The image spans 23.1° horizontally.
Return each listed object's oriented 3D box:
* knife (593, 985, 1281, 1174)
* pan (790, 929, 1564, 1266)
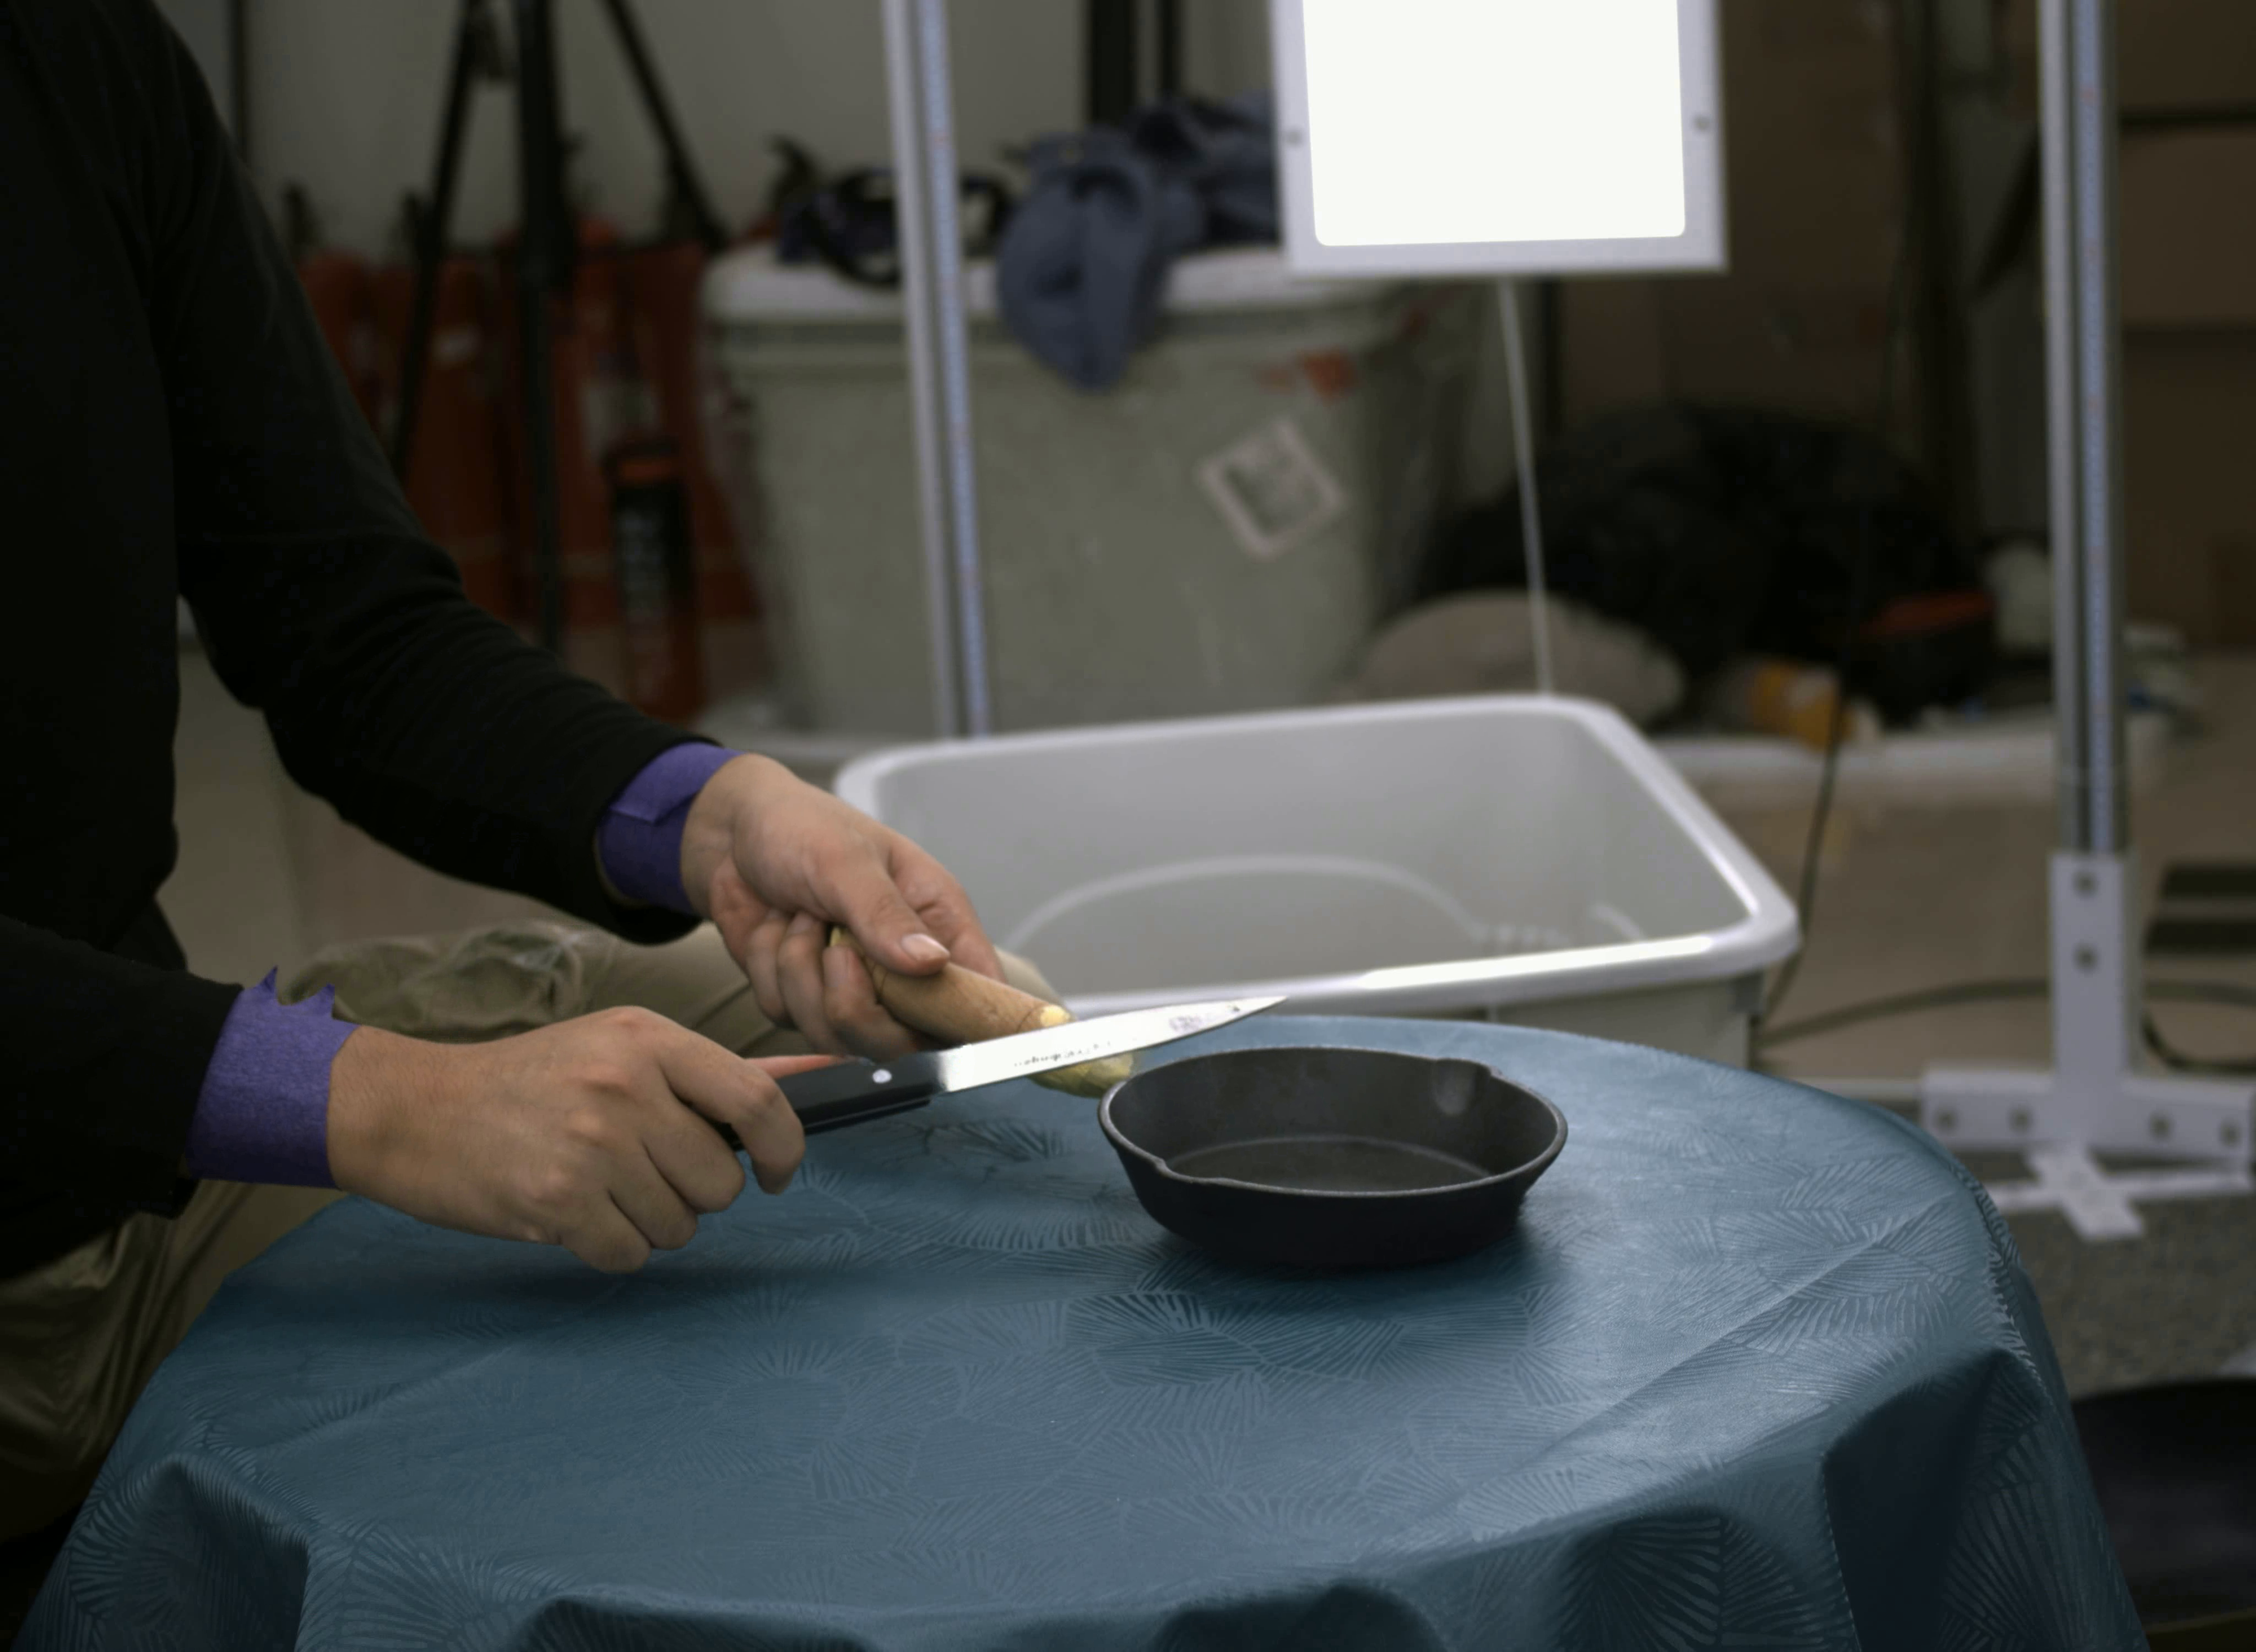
[{"bbox_3d":[-0.063,0.083,1.849,0.237,0.016,0.024,-13,38,-2],"label":"knife"},{"bbox_3d":[0.004,0.089,1.893,0.331,0.050,0.164,14,20,41],"label":"pan"}]
